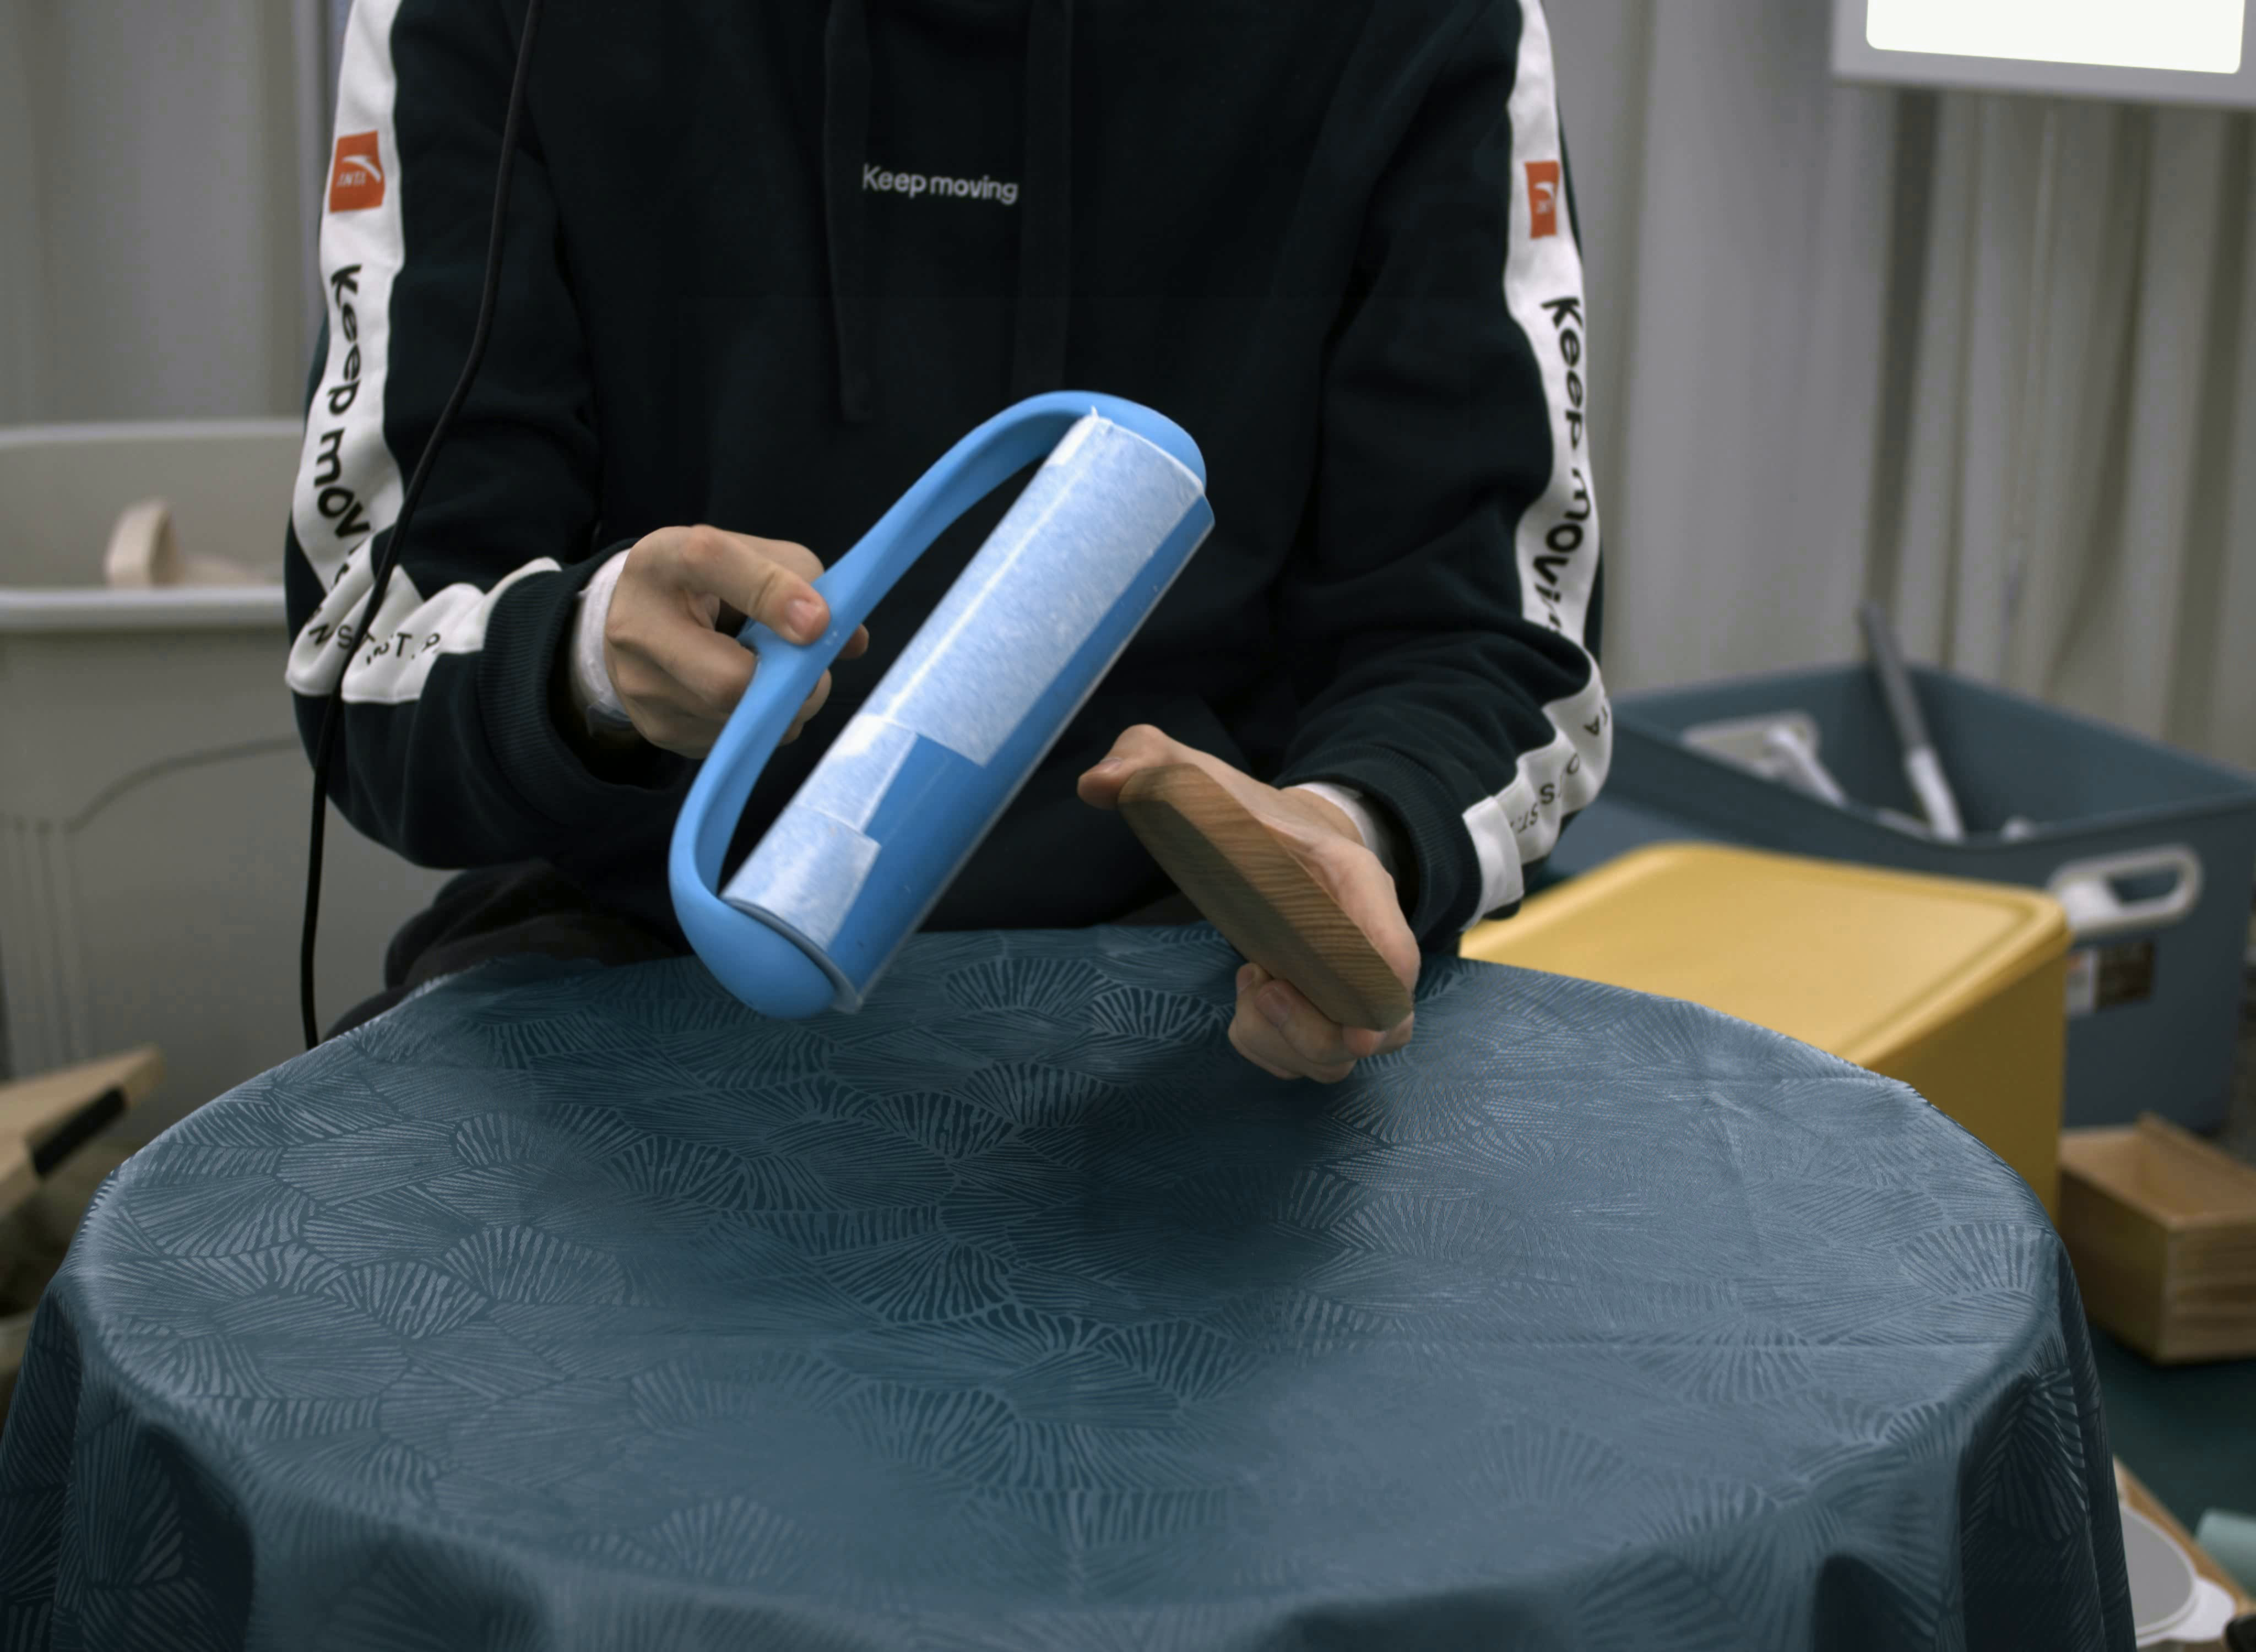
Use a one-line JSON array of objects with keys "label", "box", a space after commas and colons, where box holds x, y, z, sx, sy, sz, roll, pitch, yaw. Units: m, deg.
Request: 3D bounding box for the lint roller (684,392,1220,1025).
[{"label": "lint roller", "box": [-0.086, -0.042, 1.635, 0.178, 0.069, 0.228, 10, 60, 47]}]

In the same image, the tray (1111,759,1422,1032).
[{"label": "tray", "box": [0.039, 0.022, 1.621, 0.020, 0.102, 0.230, -42, 5, -6]}]
